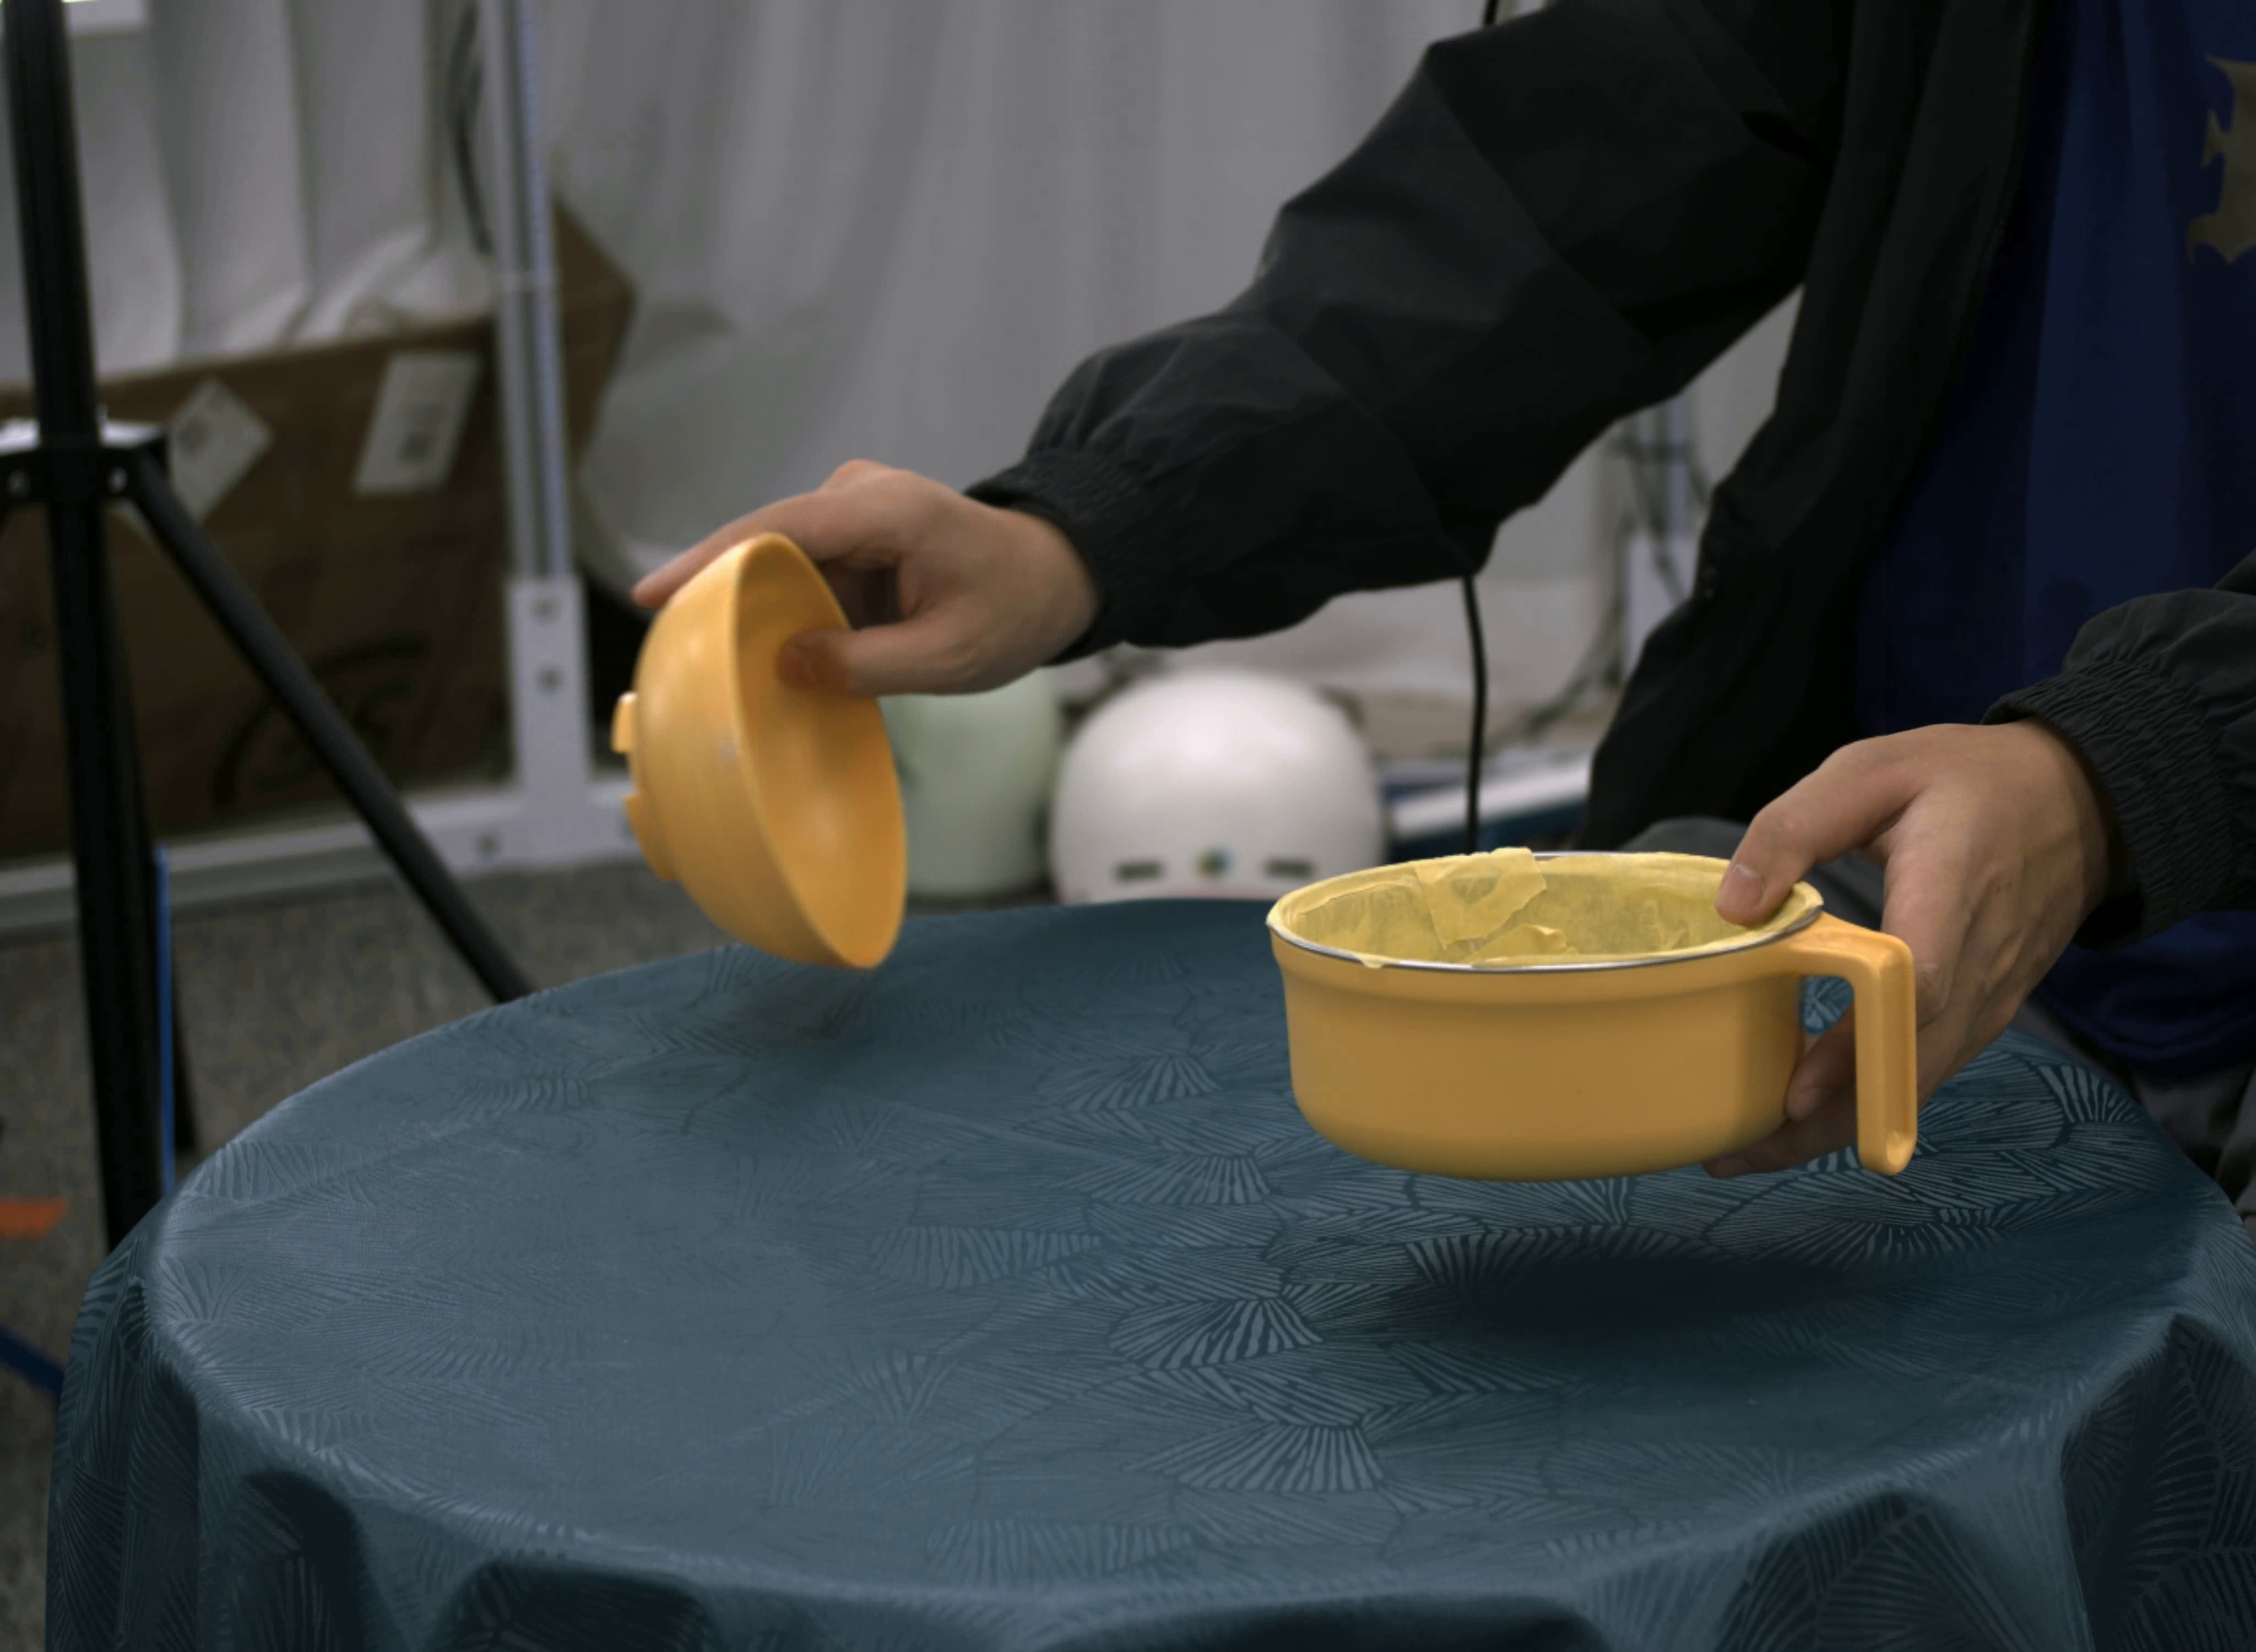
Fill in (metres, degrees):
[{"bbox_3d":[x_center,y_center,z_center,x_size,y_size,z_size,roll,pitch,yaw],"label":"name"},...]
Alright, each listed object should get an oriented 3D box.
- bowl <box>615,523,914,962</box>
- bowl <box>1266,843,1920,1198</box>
[{"bbox_3d":[-0.125,-0.020,1.729,0.060,0.145,0.144,-15,11,19],"label":"bowl"},{"bbox_3d":[0.127,0.056,1.446,0.182,0.074,0.150,2,11,26],"label":"bowl"}]
